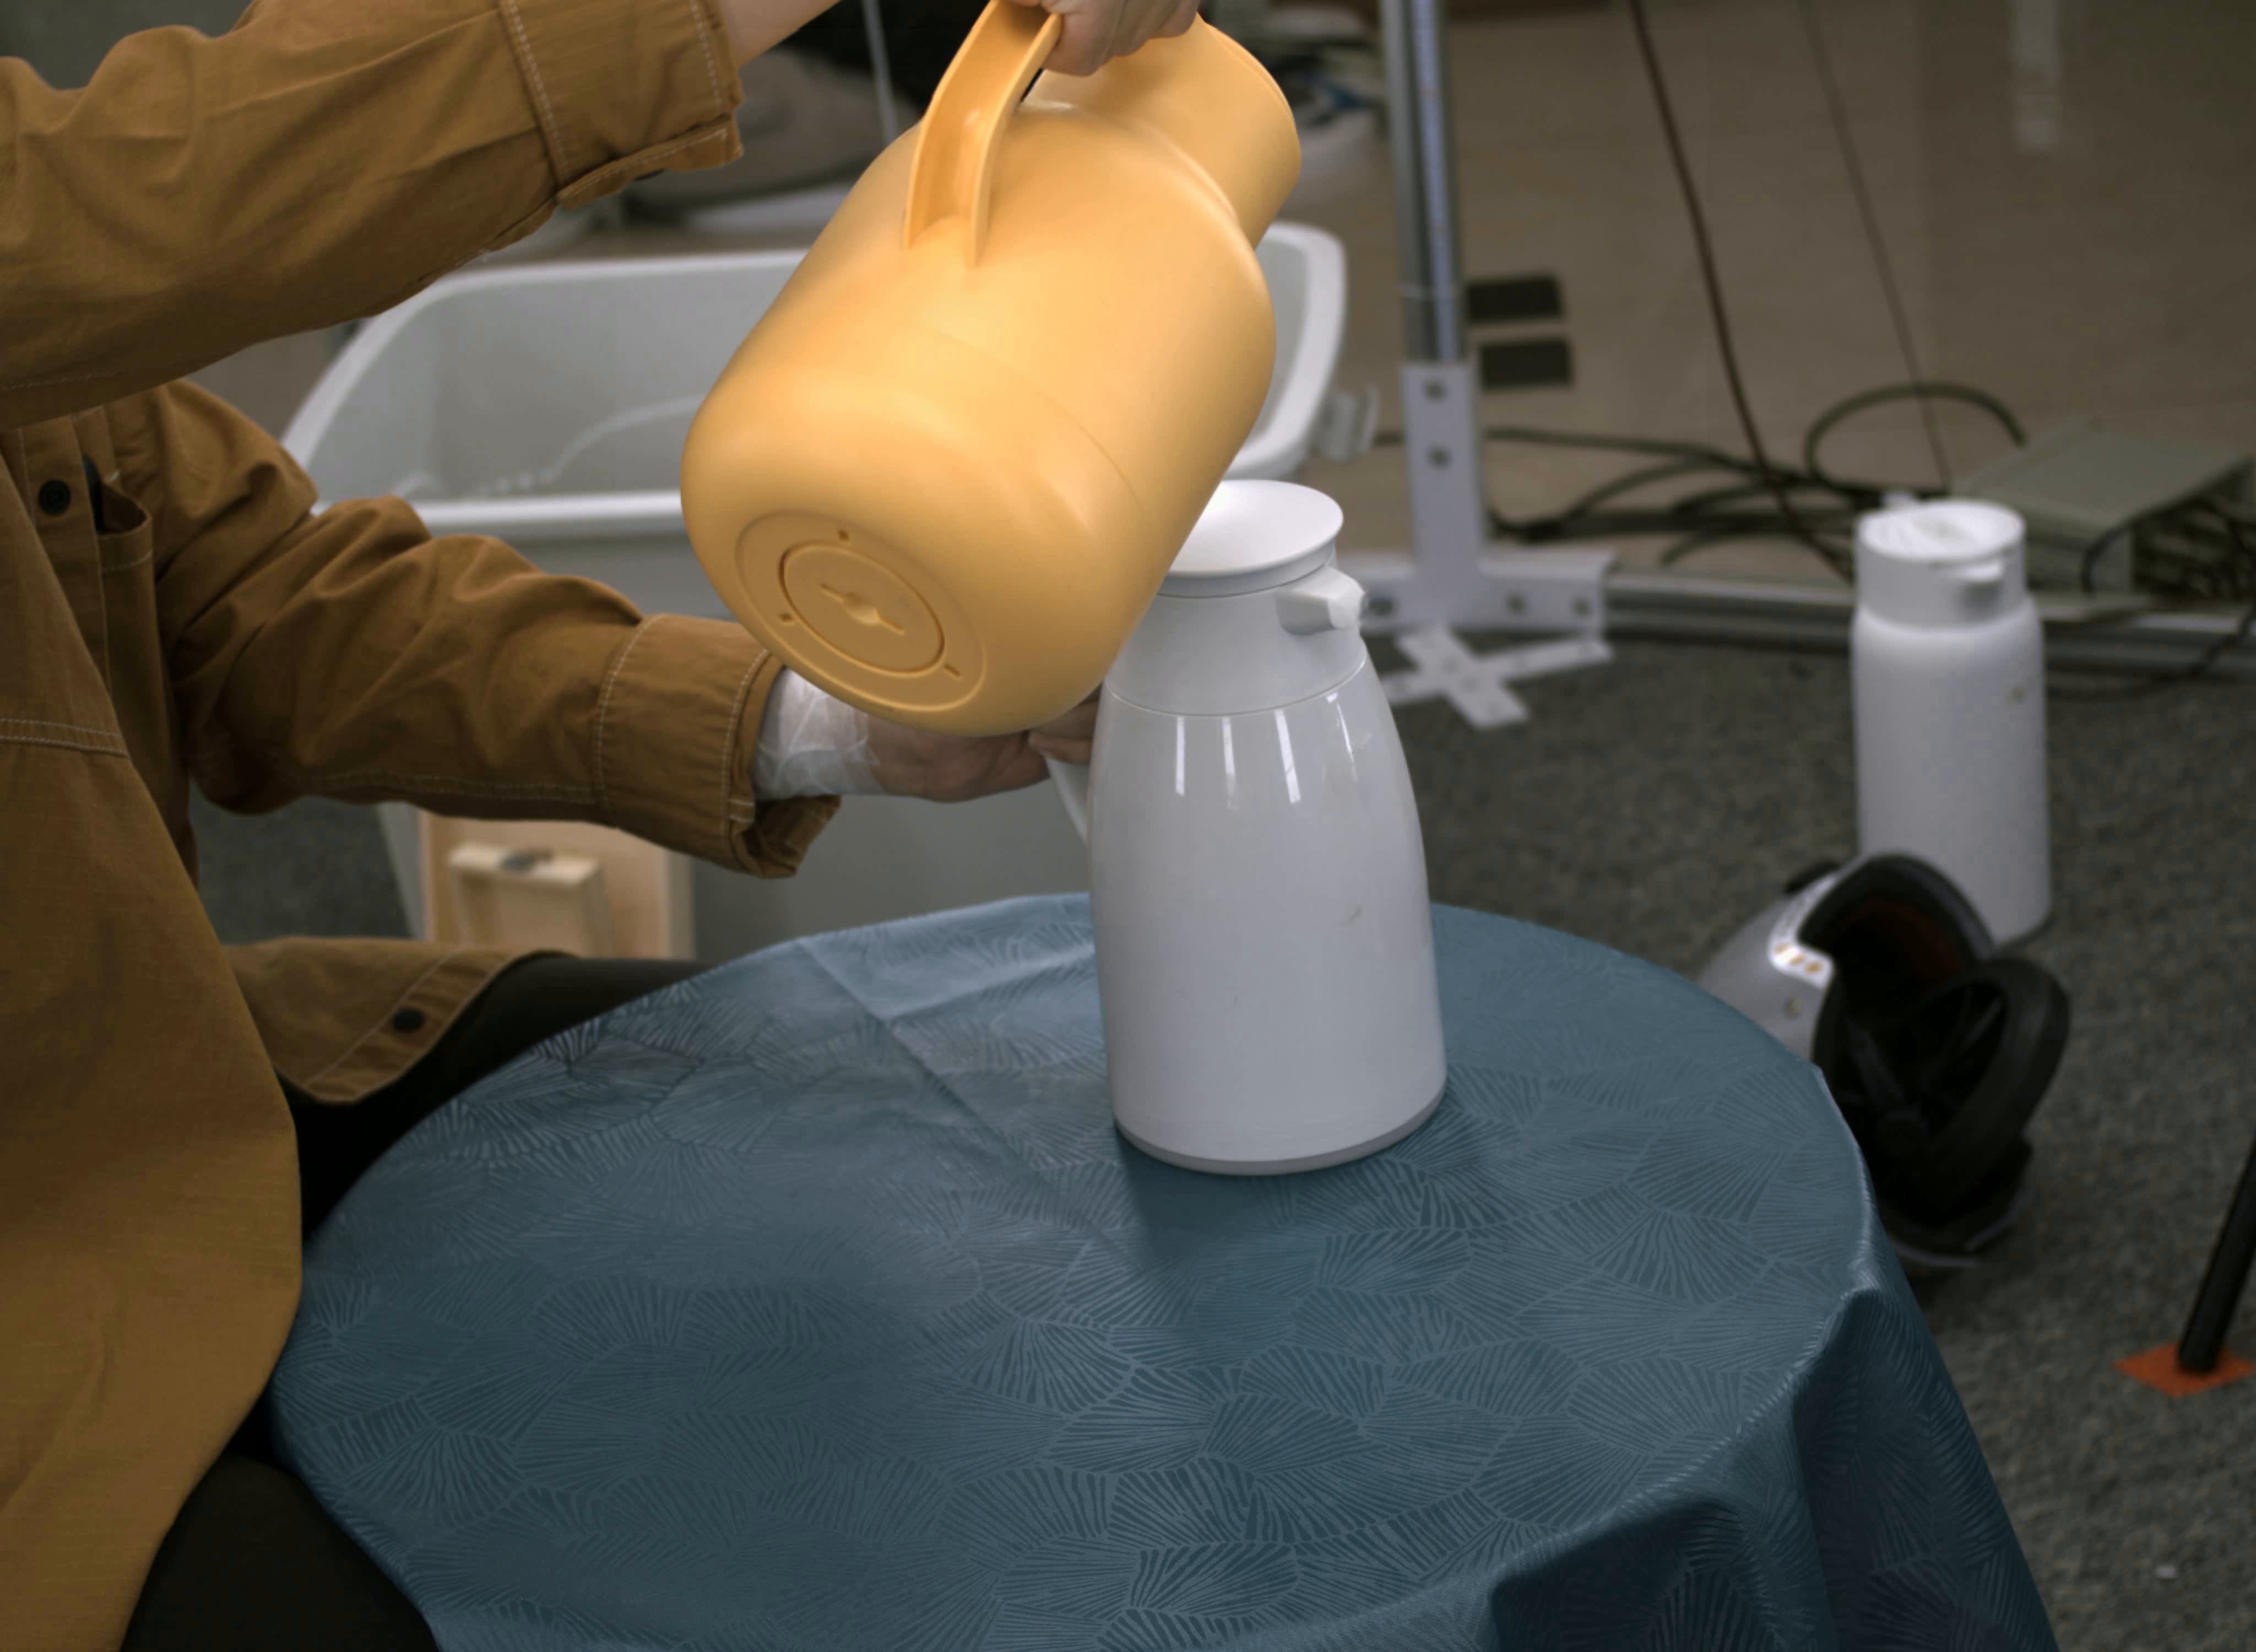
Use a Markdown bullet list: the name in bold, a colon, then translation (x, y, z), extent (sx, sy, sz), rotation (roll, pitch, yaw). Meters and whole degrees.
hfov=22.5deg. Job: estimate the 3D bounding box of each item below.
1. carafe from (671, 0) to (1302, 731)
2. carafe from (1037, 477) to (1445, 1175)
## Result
- **carafe**: translation (-0.039, -0.180, 1.918), extent (0.162, 0.206, 0.257), rotation (14, 53, 25)
- **carafe**: translation (0.032, -0.011, 2.164), extent (0.166, 0.252, 0.131), rotation (17, 34, 40)
